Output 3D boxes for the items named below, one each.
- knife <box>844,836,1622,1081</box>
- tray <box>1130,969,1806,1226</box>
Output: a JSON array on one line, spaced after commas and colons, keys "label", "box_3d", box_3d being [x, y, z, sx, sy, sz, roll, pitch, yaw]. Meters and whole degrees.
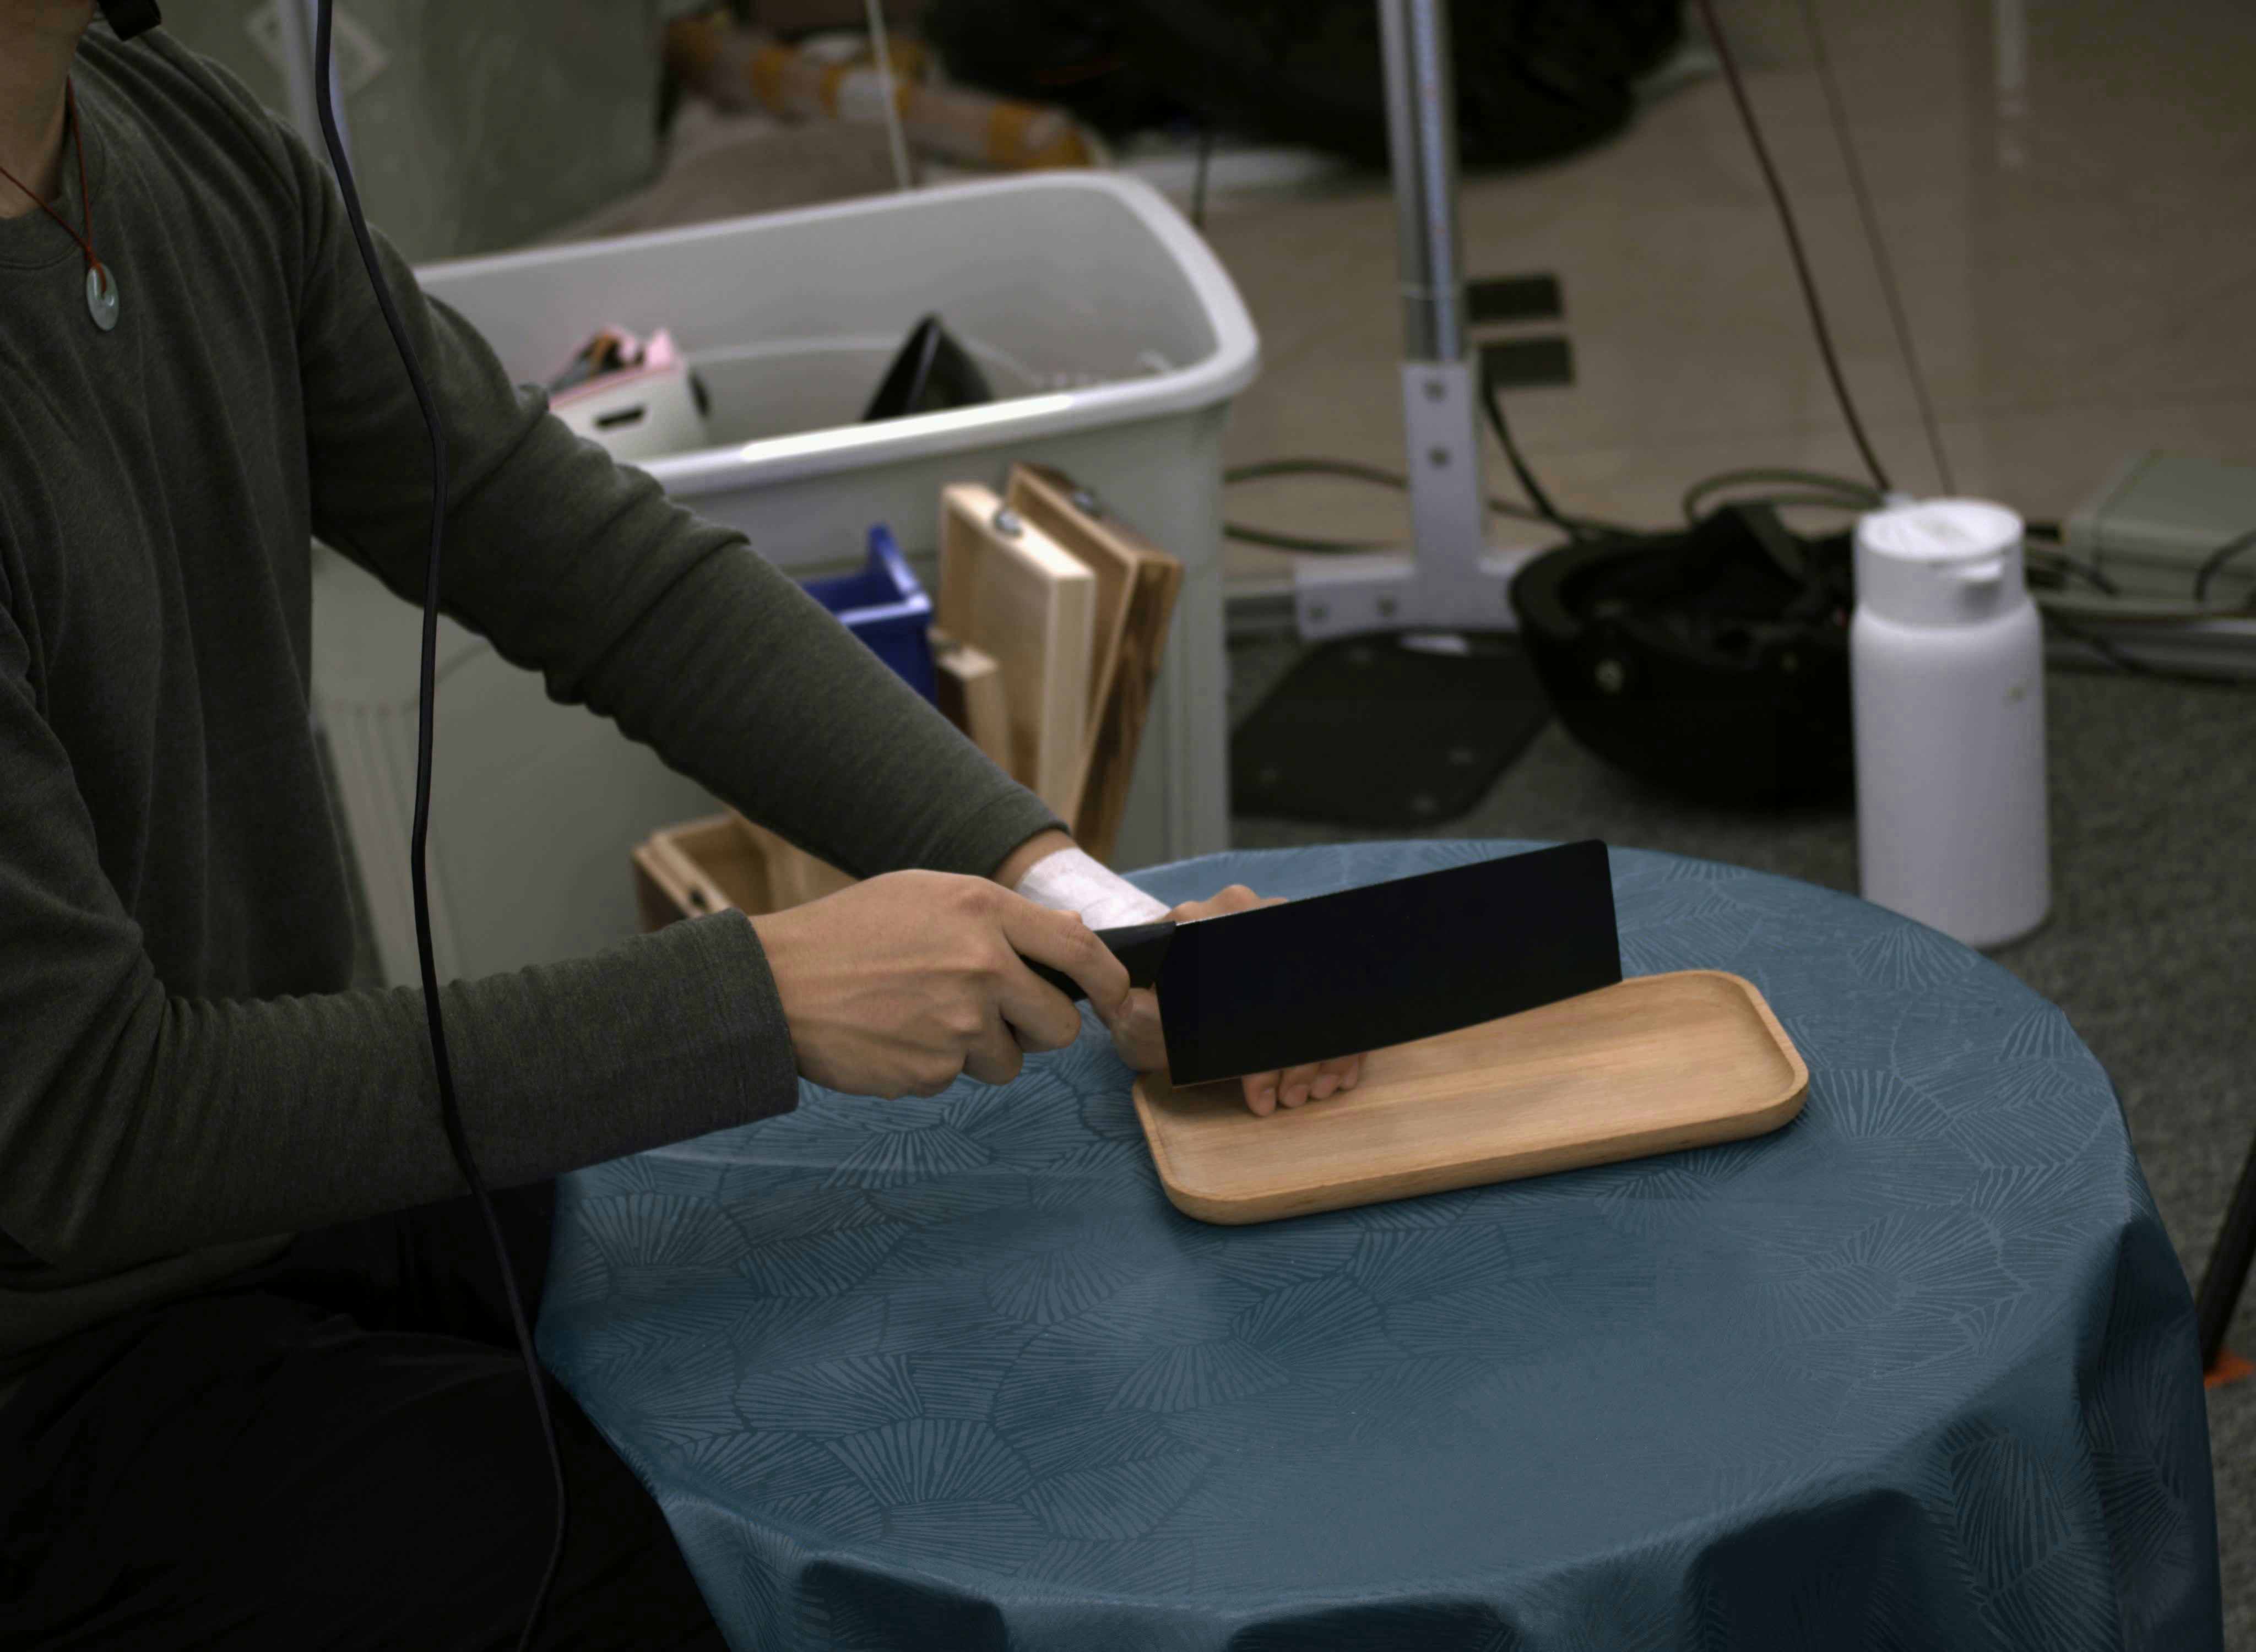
[{"label": "knife", "box_3d": [0.041, 0.059, 2.150, 0.301, 0.082, 0.020, -7, 19, -9]}, {"label": "tray", "box_3d": [0.129, 0.104, 2.177, 0.250, 0.023, 0.129, -10, 22, -4]}]
